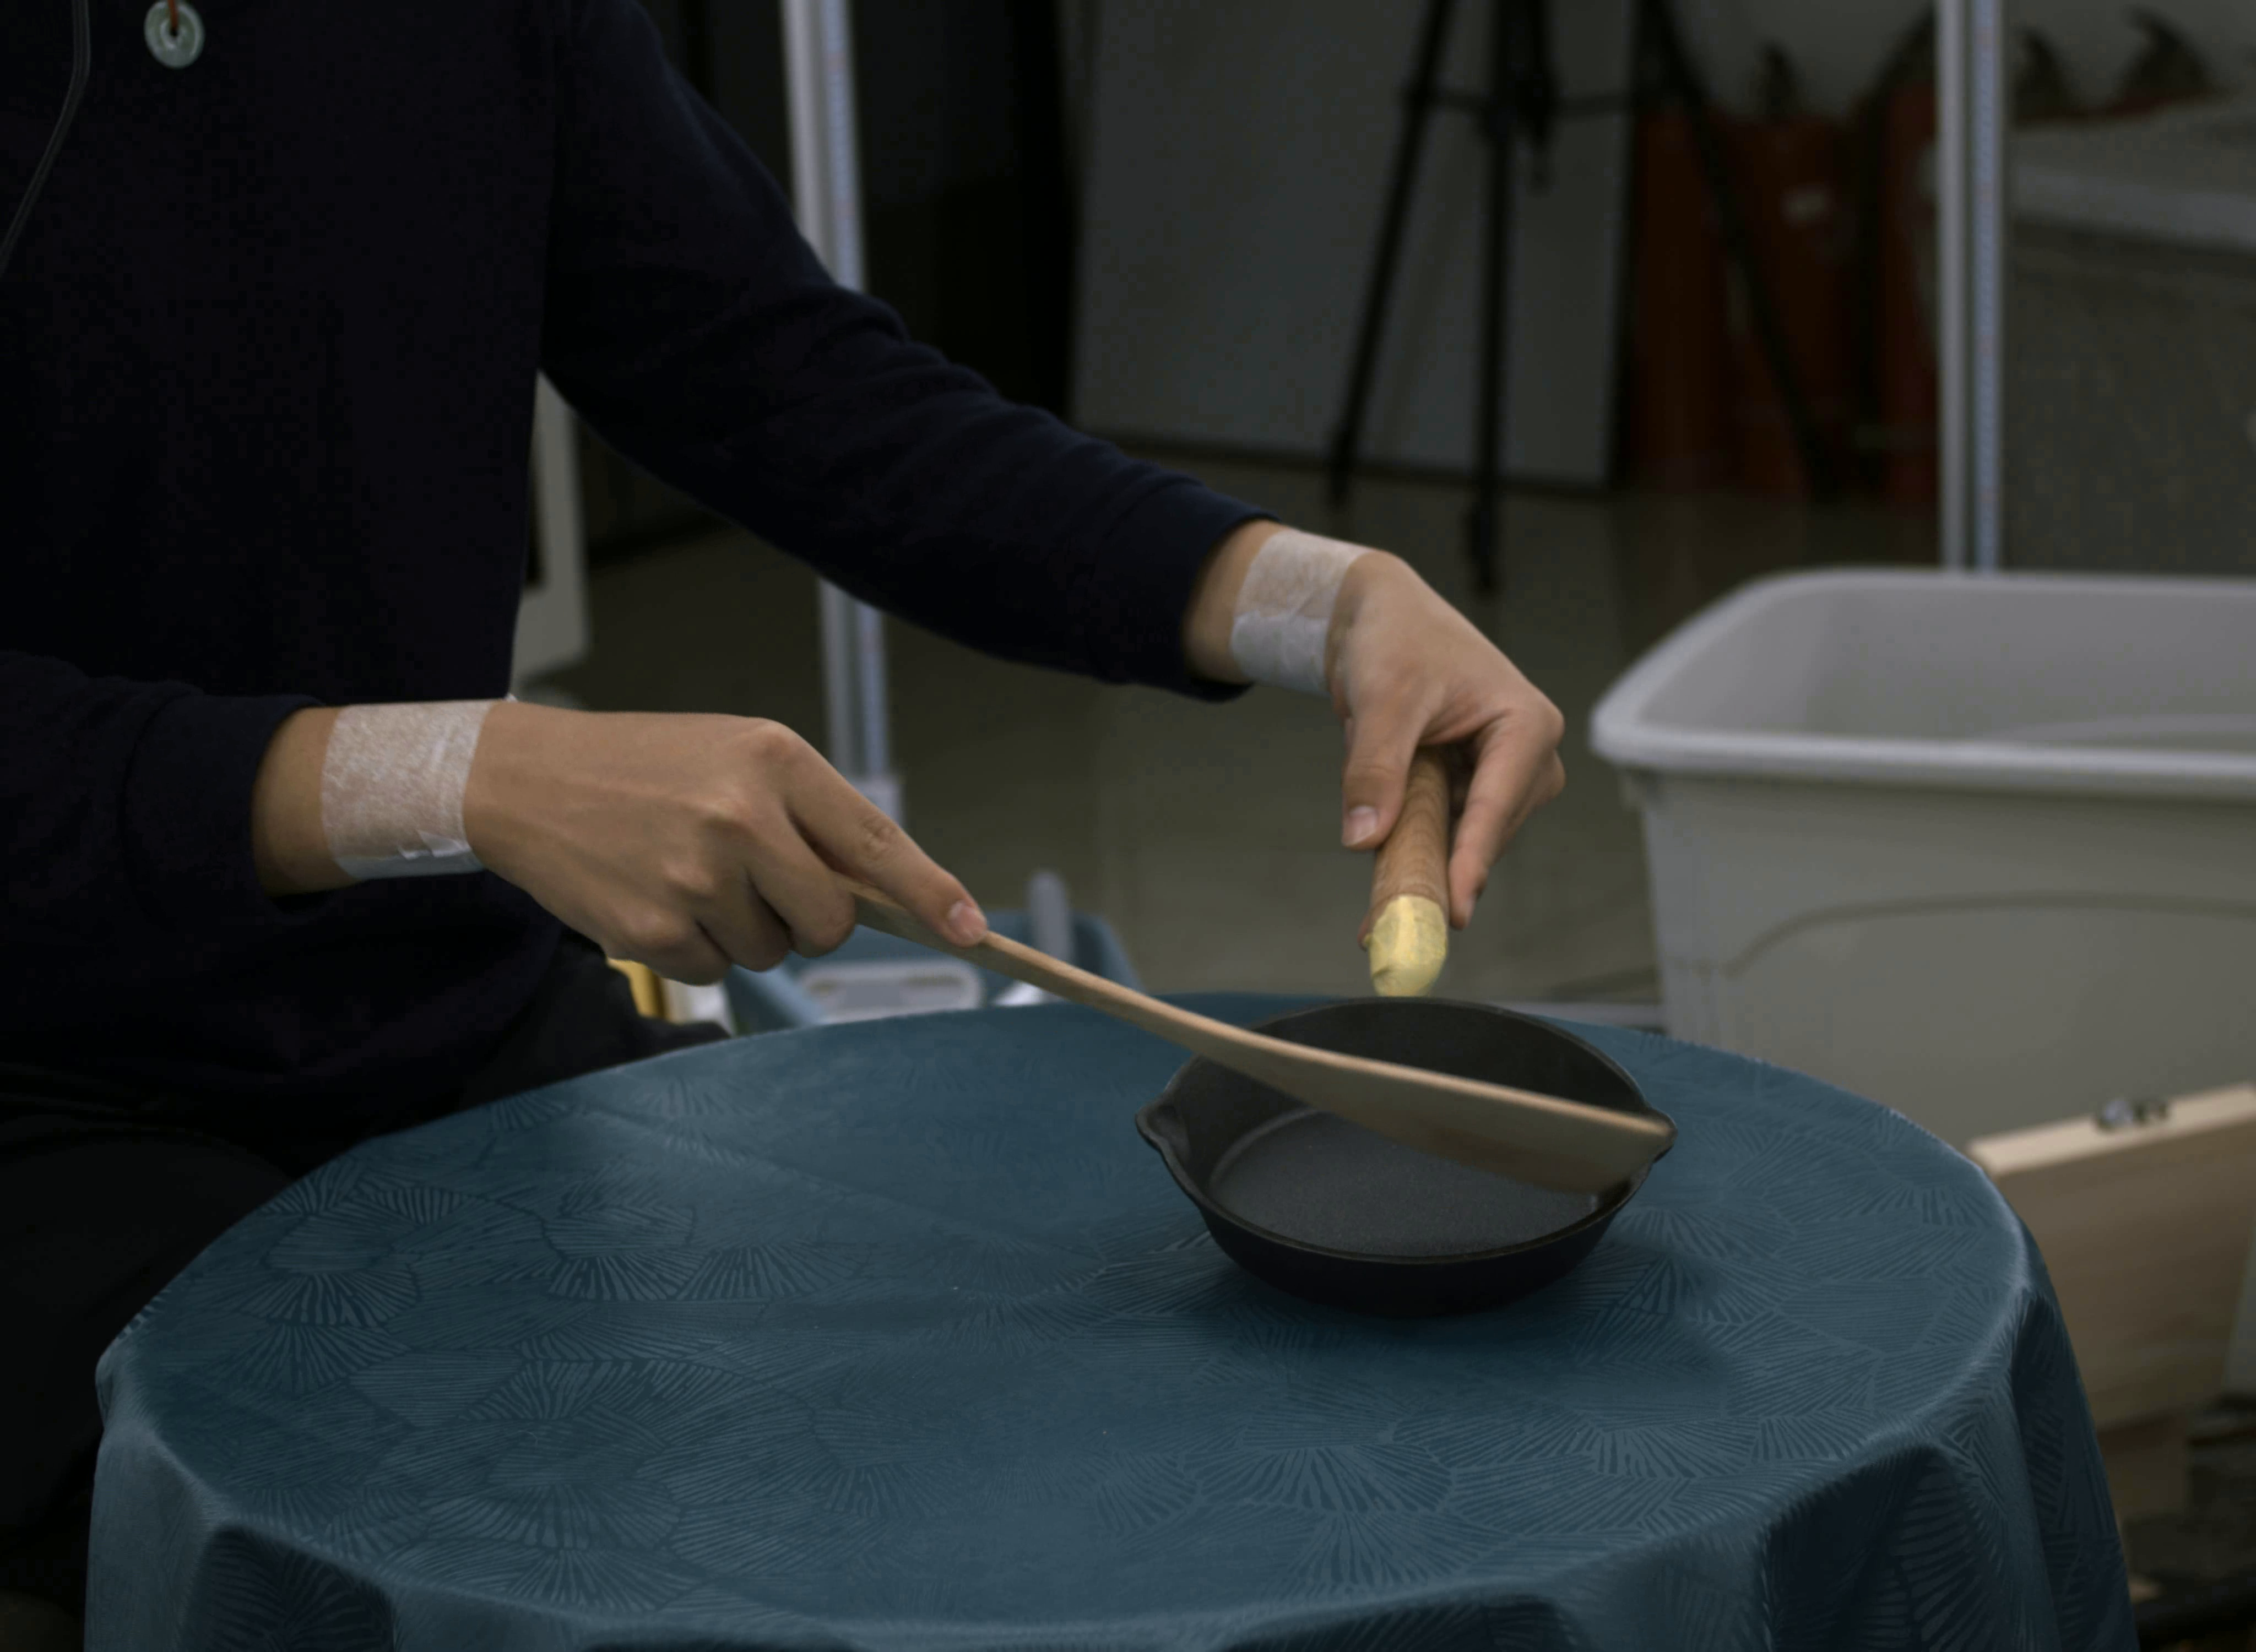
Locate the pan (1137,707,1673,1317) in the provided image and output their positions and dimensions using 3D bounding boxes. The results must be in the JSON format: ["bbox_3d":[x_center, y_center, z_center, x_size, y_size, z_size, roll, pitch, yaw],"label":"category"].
[{"bbox_3d":[0.093,0.057,1.750,0.167,0.050,0.325,1,30,5],"label":"pan"}]

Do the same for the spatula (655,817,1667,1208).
[{"bbox_3d":[0.007,0.055,1.646,0.326,0.016,0.080,21,-22,9],"label":"spatula"}]
